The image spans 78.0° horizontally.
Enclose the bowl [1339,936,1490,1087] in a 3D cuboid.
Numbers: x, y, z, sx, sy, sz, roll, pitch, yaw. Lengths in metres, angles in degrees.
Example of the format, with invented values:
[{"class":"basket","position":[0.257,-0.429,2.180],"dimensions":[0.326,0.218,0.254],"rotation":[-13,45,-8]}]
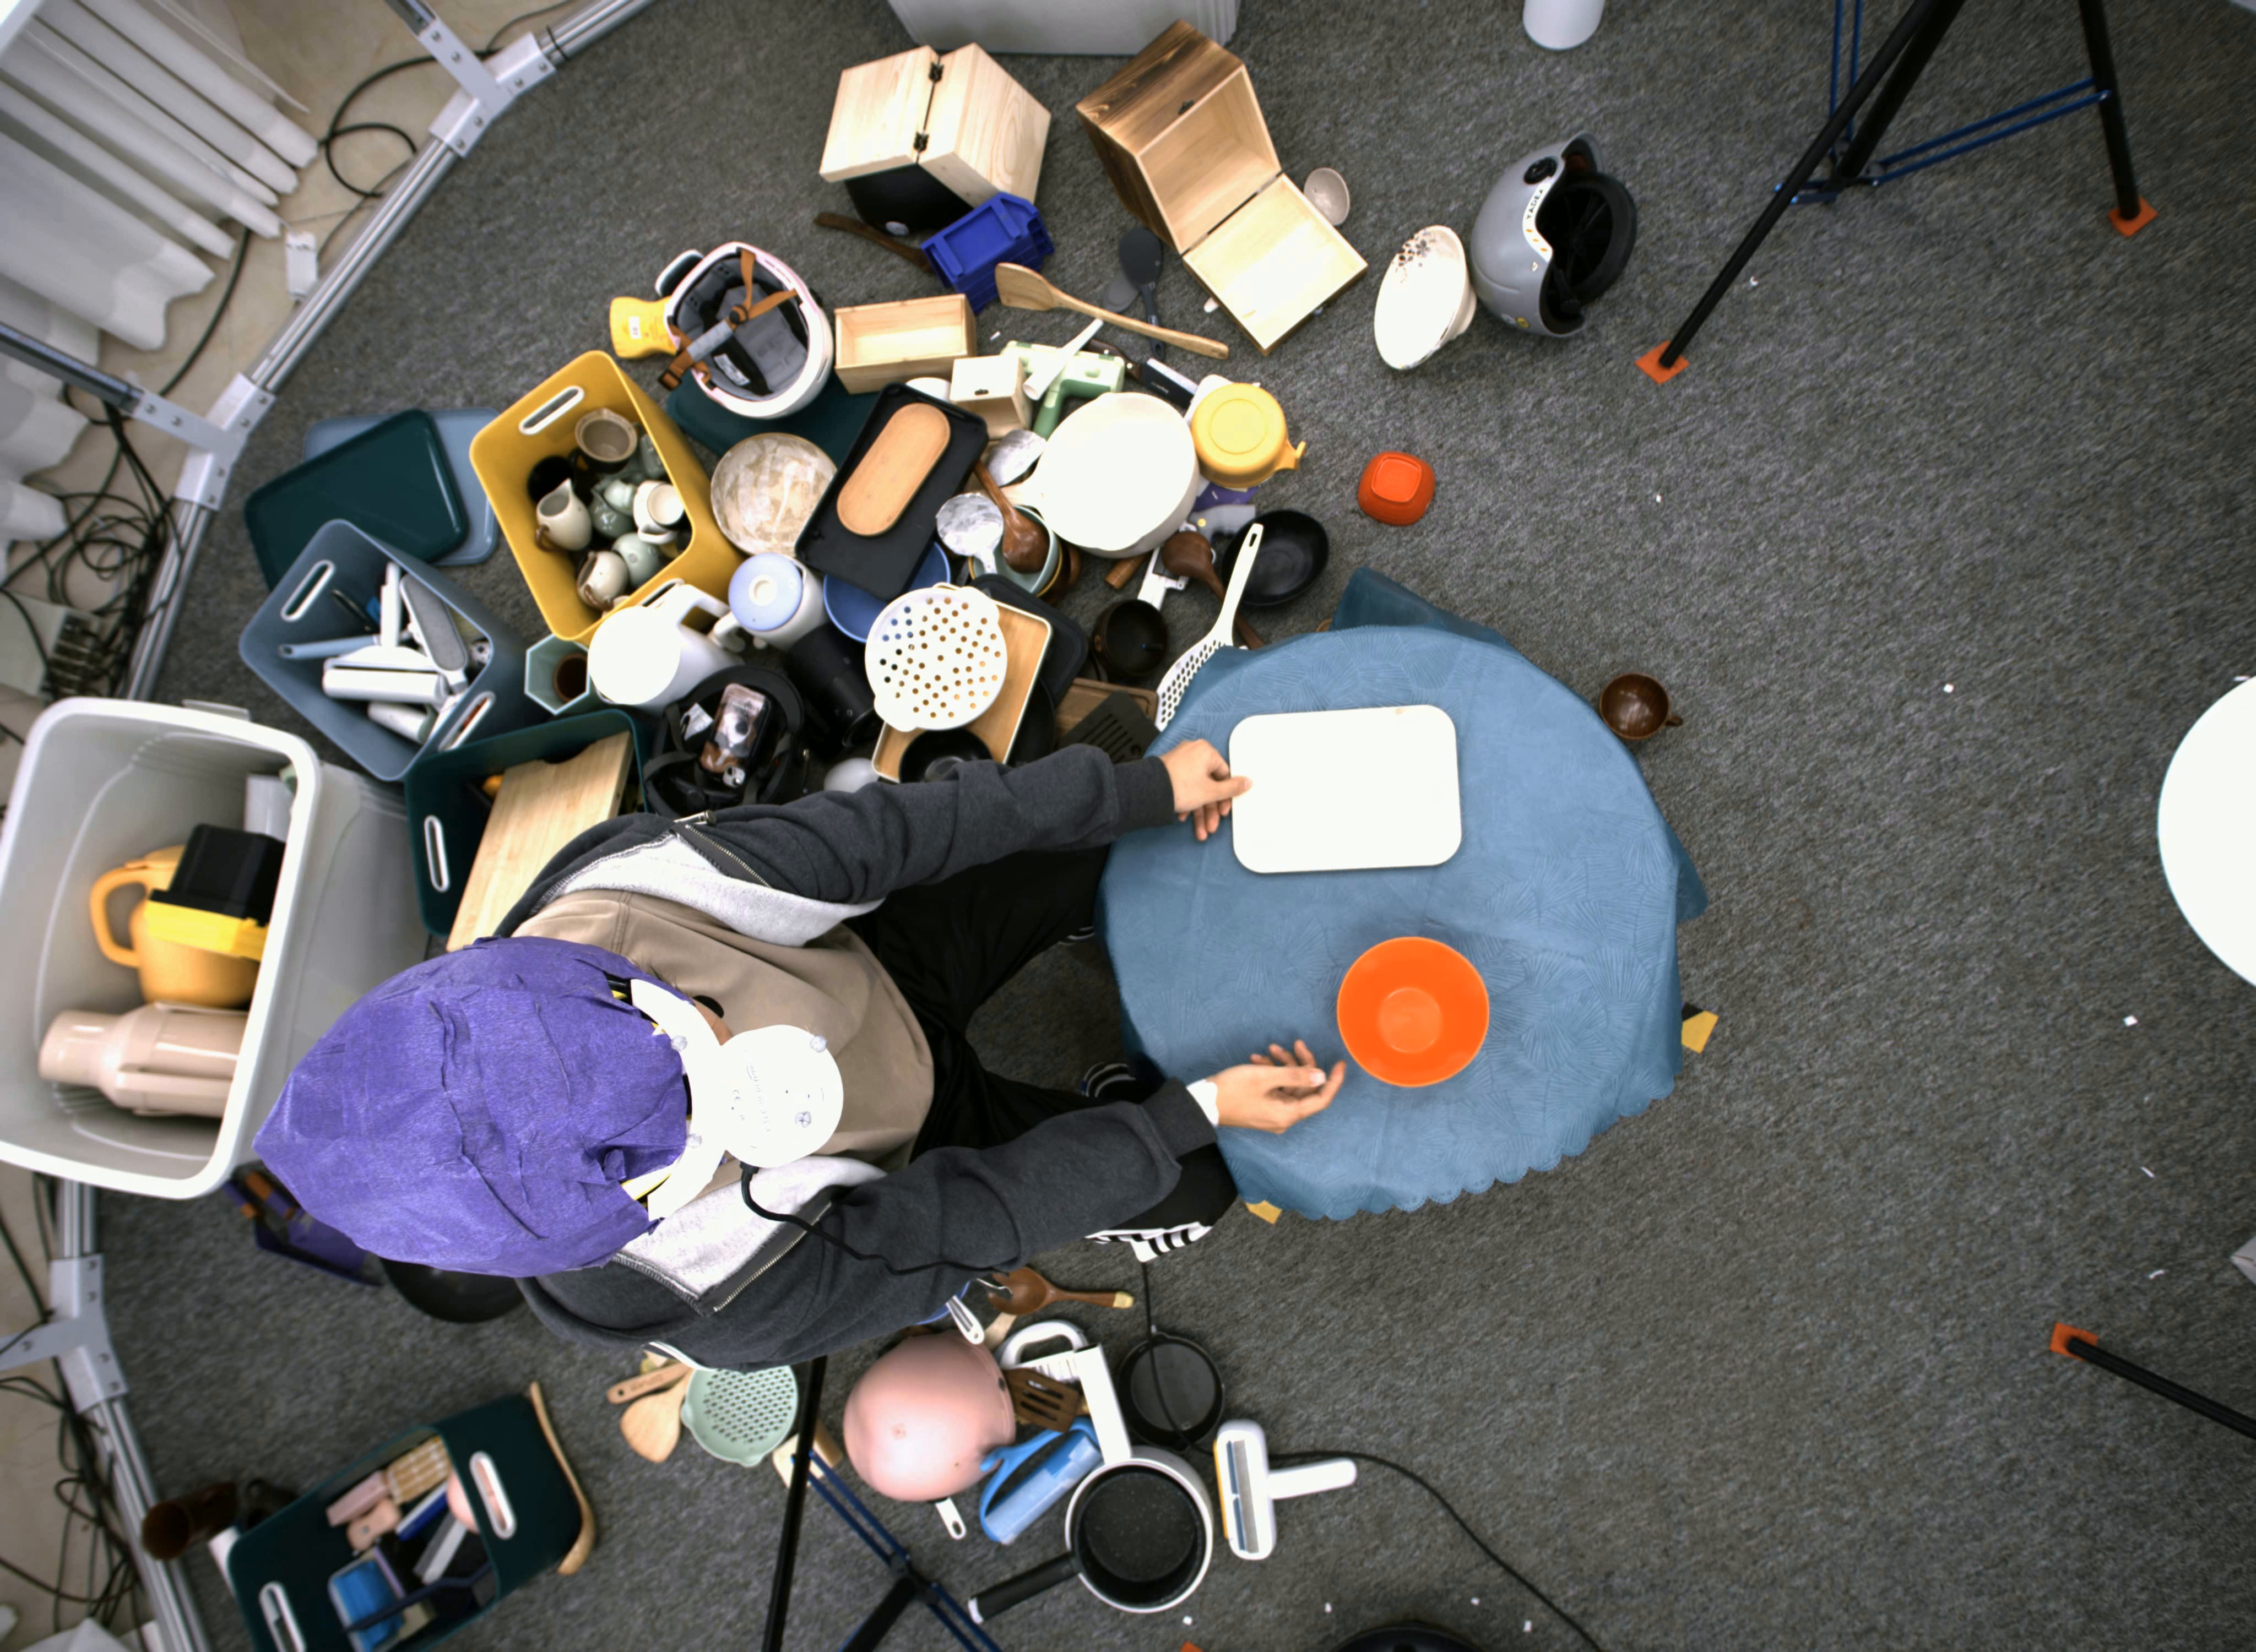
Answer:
[{"class":"bowl","position":[0.288,0.186,1.398],"dimensions":[0.148,0.105,0.147],"rotation":[-1,85,9]}]

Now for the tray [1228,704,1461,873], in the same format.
[{"class":"tray","position":[0.228,-0.040,1.464],"dimensions":[0.241,0.017,0.170],"rotation":[-3,87,10]}]
